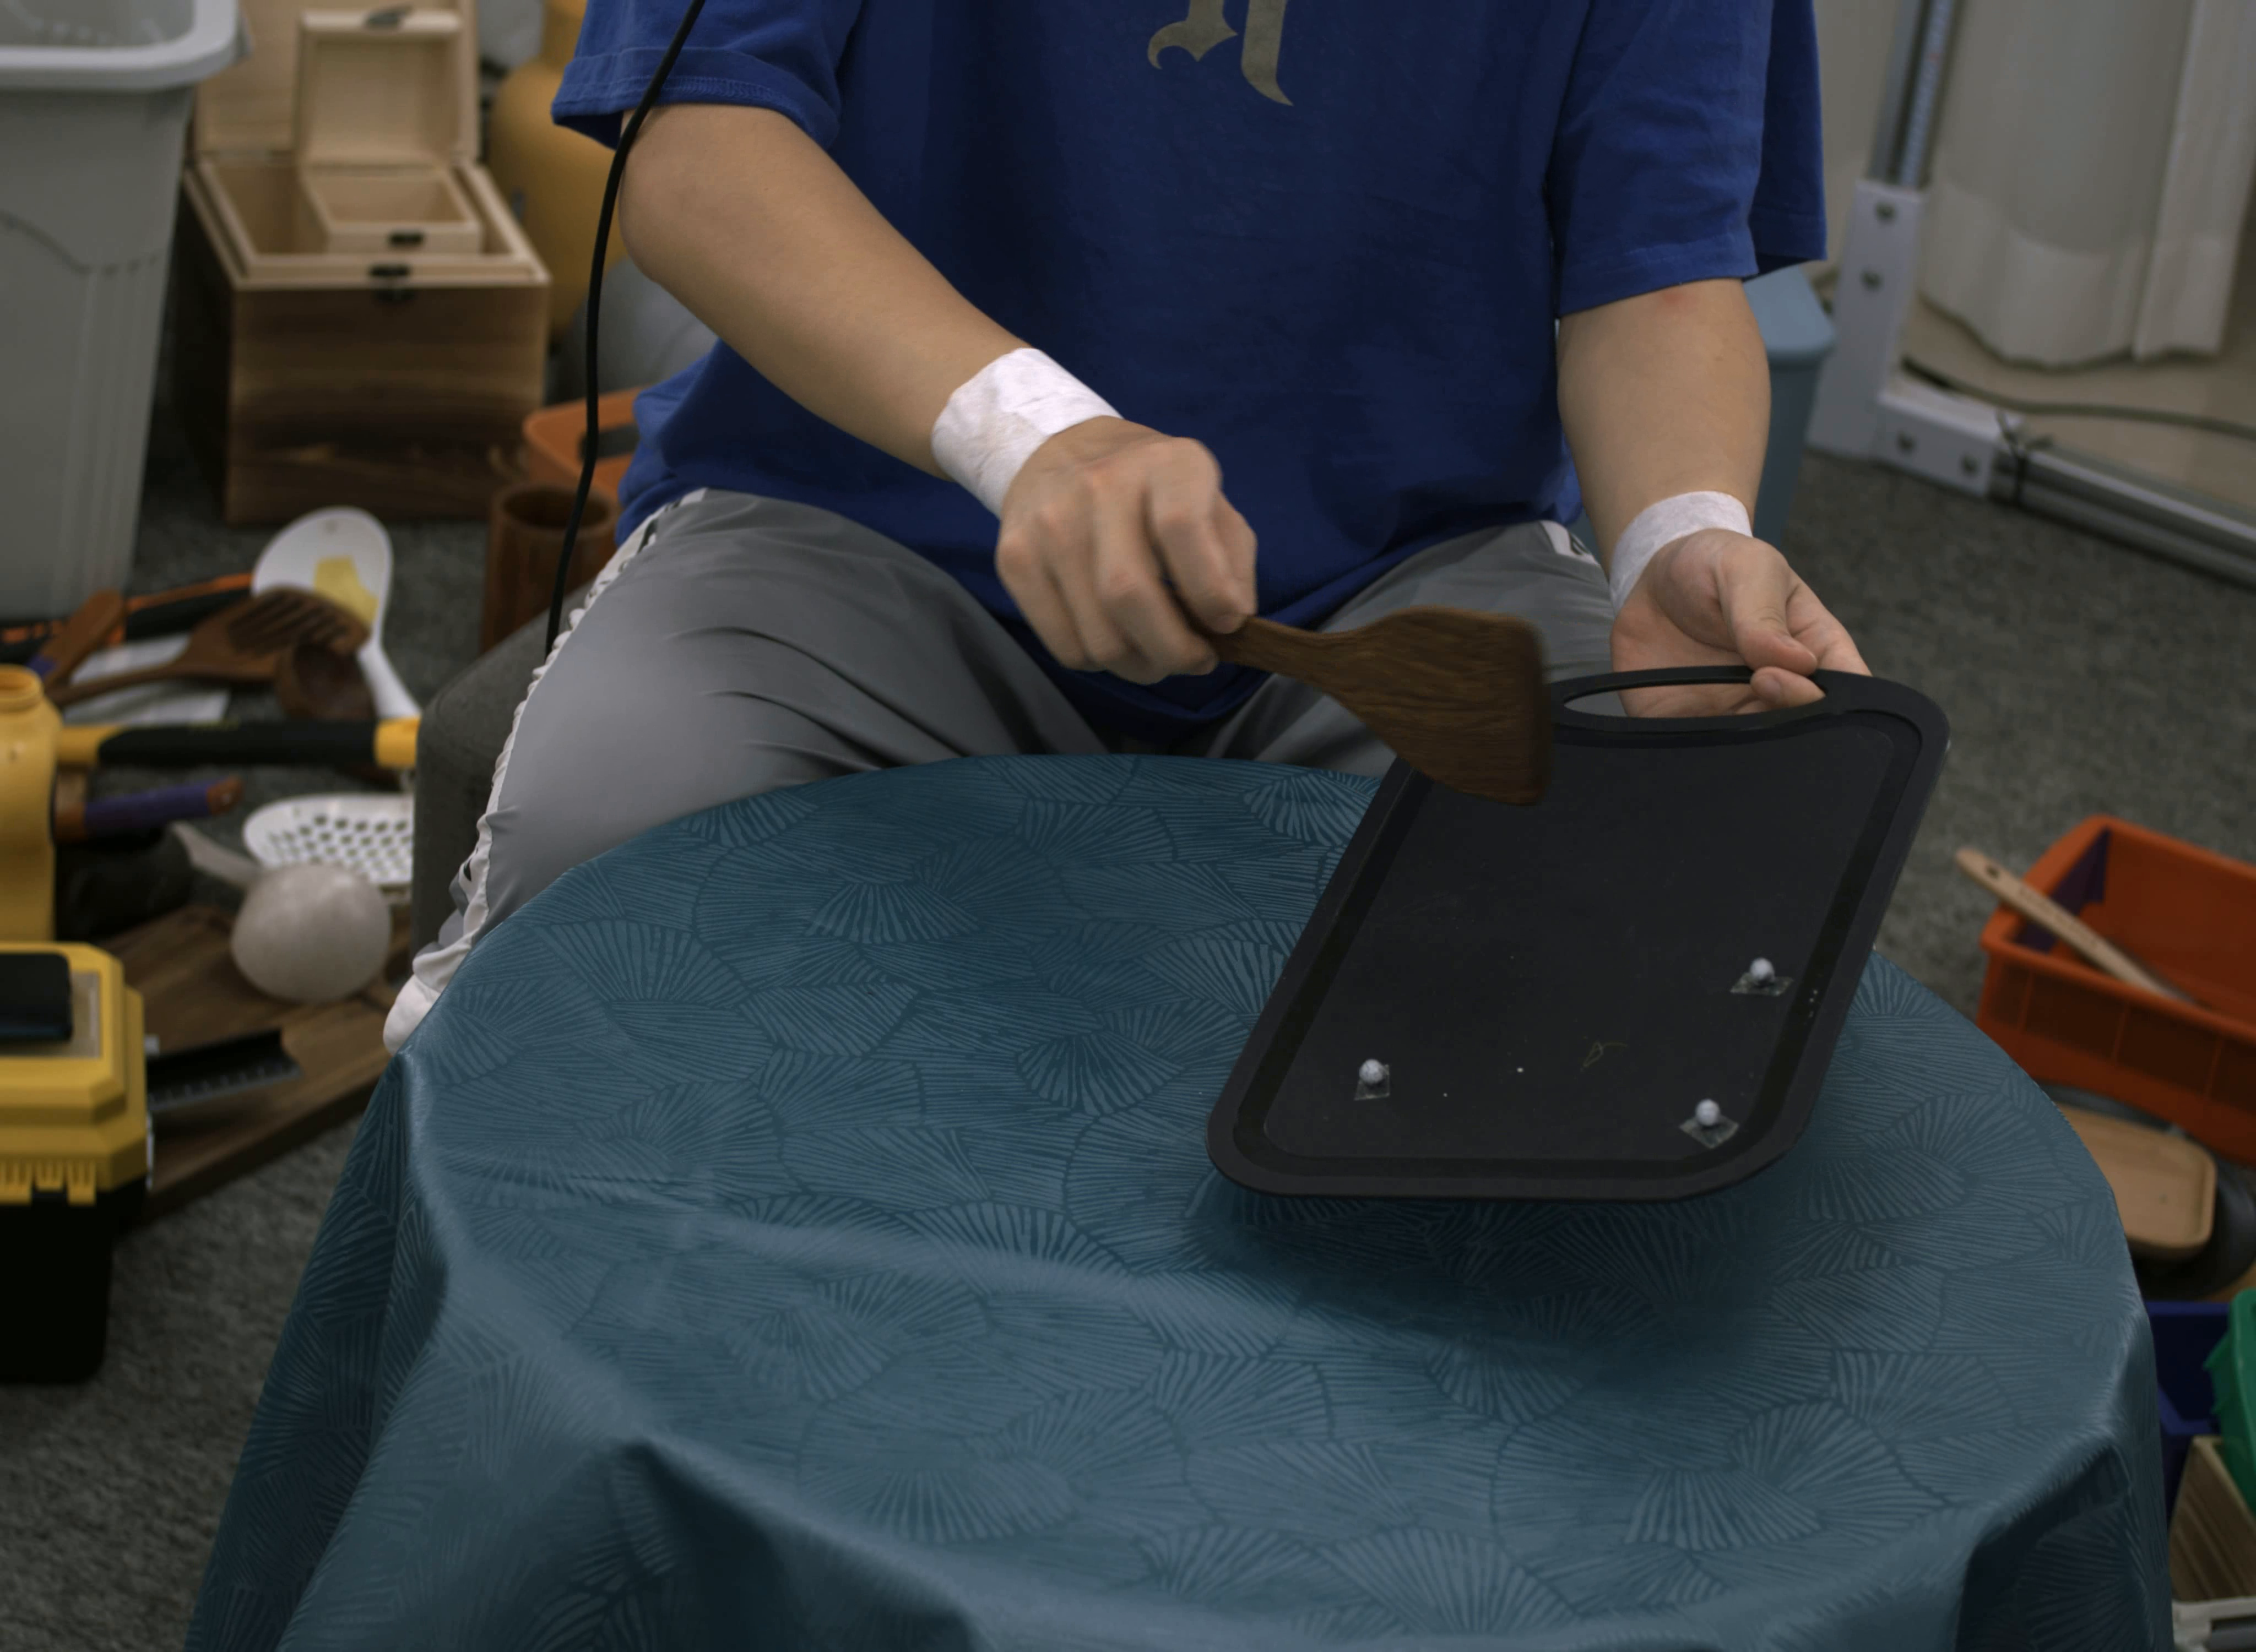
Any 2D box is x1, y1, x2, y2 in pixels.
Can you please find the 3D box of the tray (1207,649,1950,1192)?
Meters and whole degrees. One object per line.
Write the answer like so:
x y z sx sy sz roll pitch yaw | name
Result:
0.161 0.026 1.845 0.211 0.010 0.326 -2 33 25 | tray

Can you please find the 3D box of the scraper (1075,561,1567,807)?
0.064 -0.061 1.874 0.212 0.075 0.011 16 32 36 | scraper
